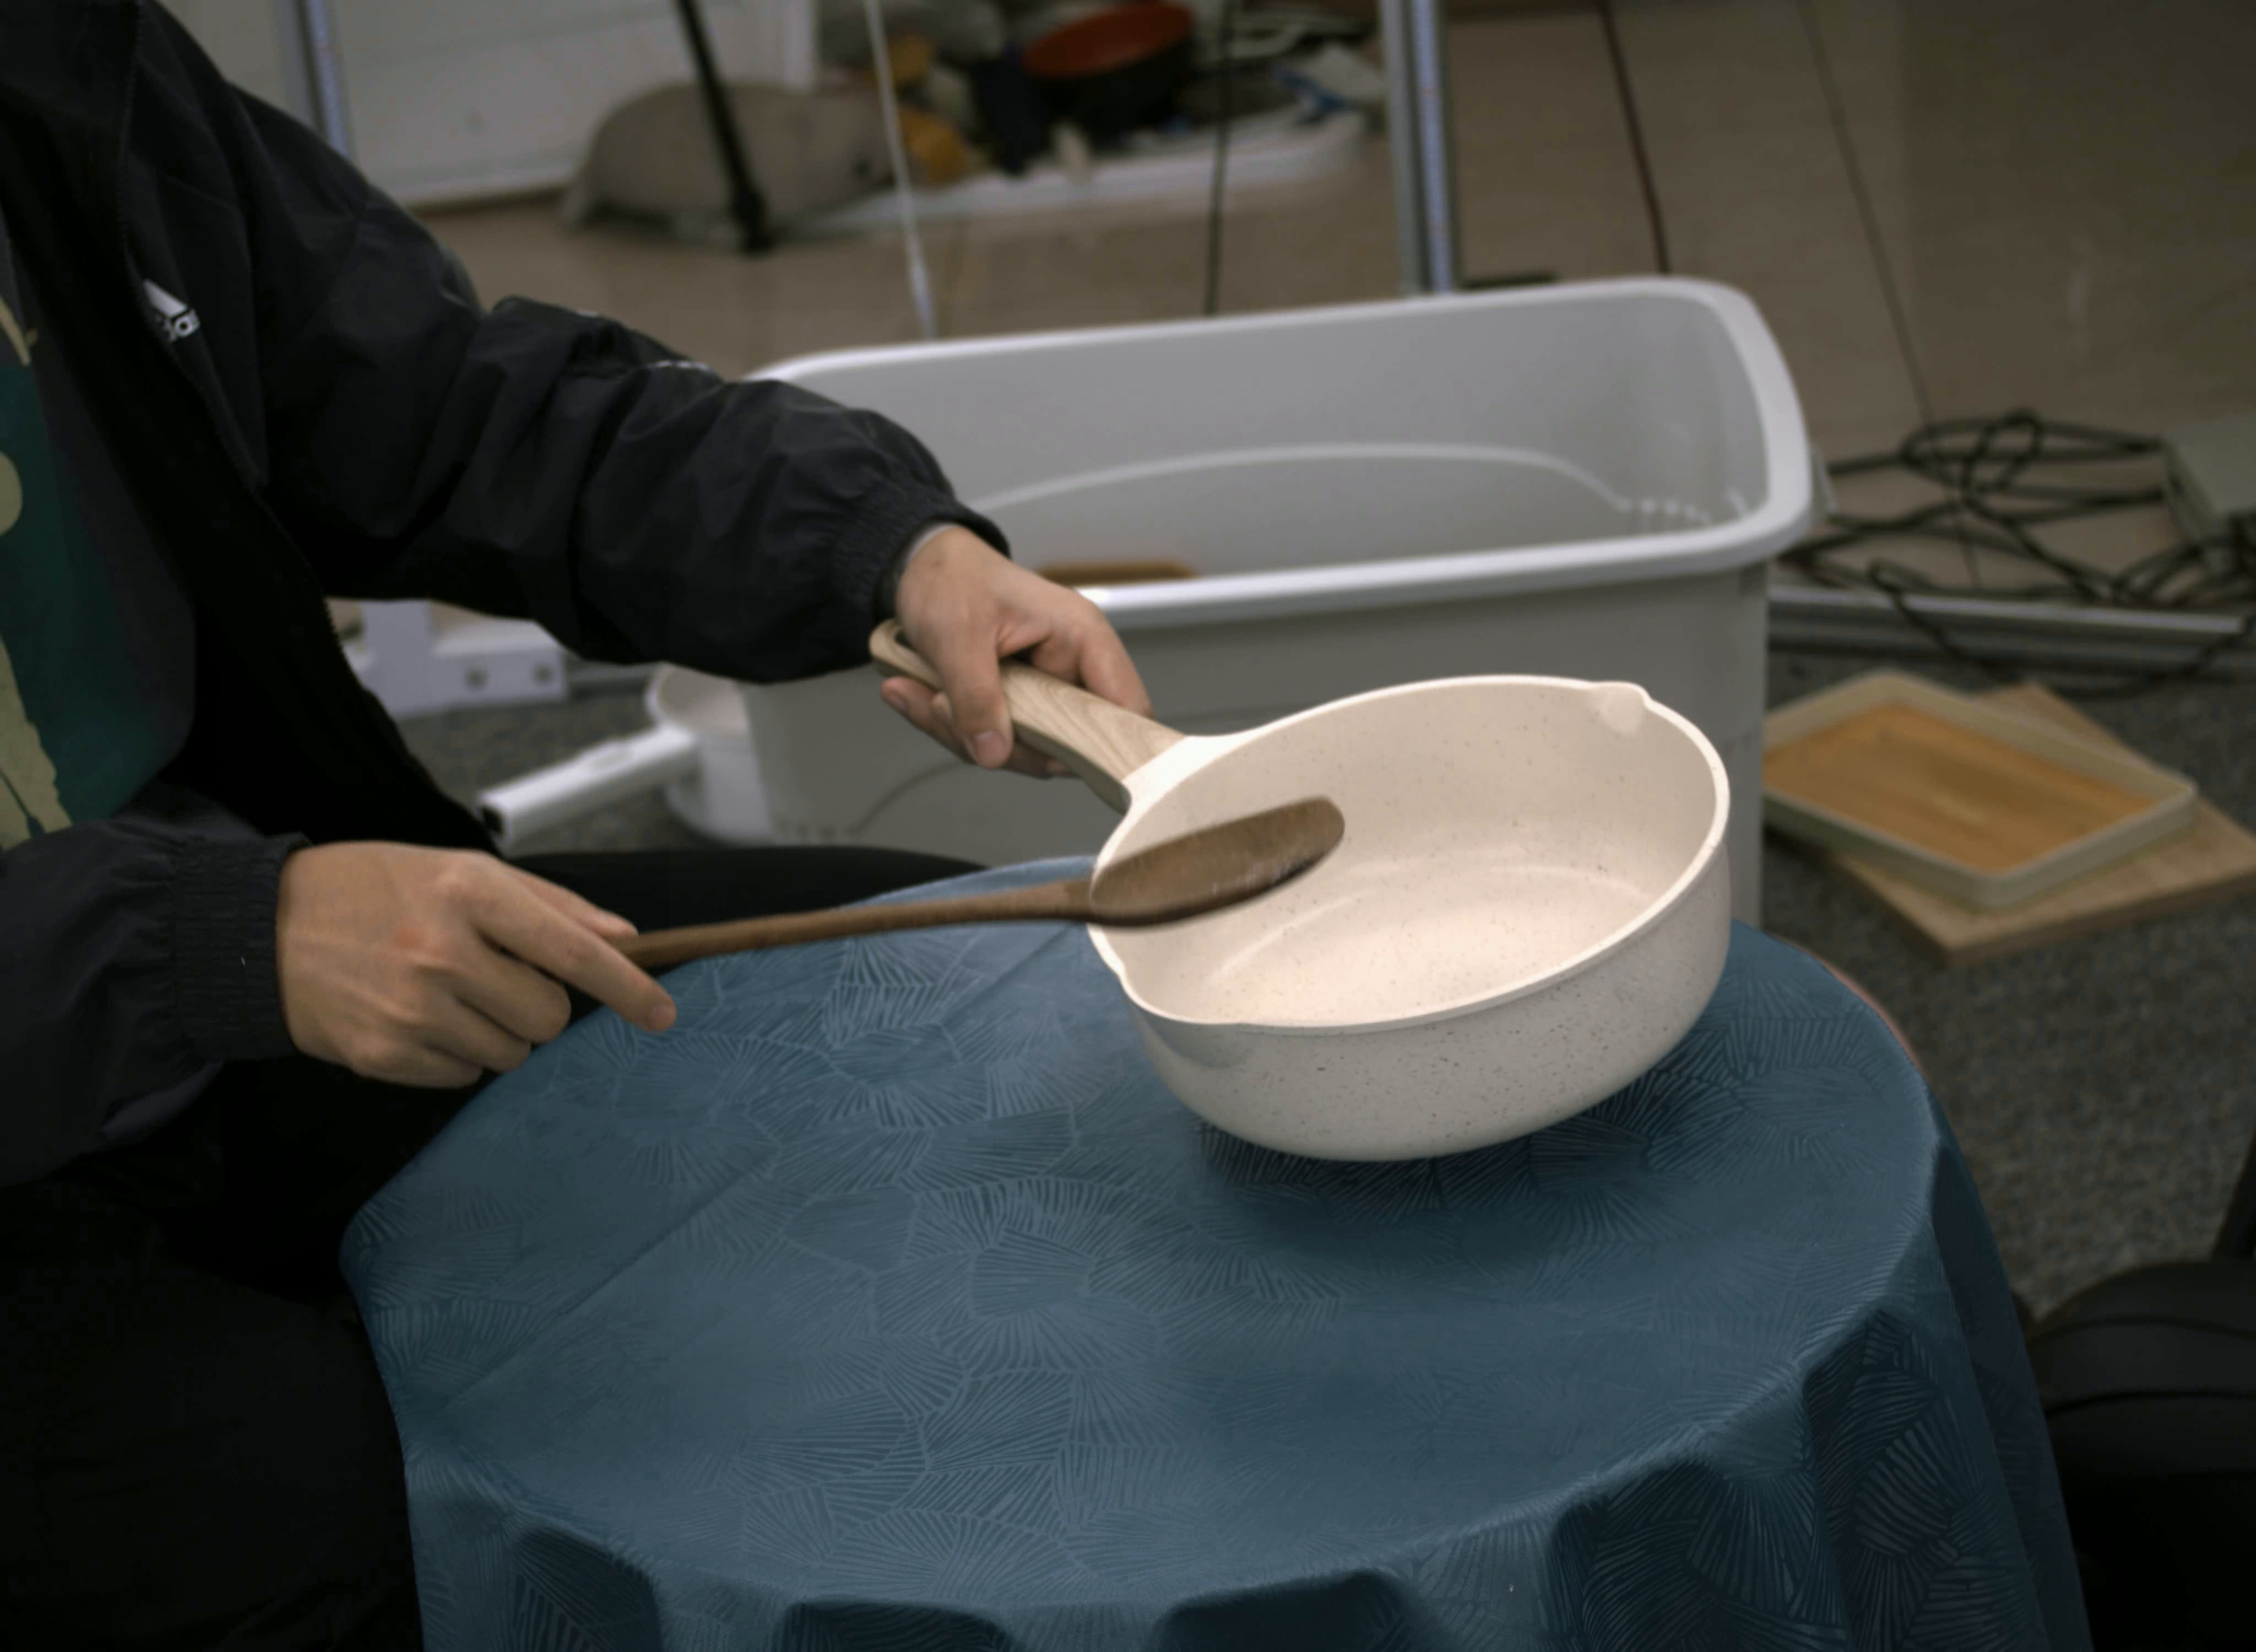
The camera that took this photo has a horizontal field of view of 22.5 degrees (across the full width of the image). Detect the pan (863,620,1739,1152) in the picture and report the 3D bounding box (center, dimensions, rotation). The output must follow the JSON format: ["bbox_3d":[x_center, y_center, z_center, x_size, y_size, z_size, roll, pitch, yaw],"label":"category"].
[{"bbox_3d":[0.053,0.007,2.238,0.261,0.104,0.431,-36,36,-29],"label":"pan"}]

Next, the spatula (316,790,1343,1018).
[{"bbox_3d":[-0.111,0.032,2.024,0.386,0.016,0.095,-9,16,12],"label":"spatula"}]
